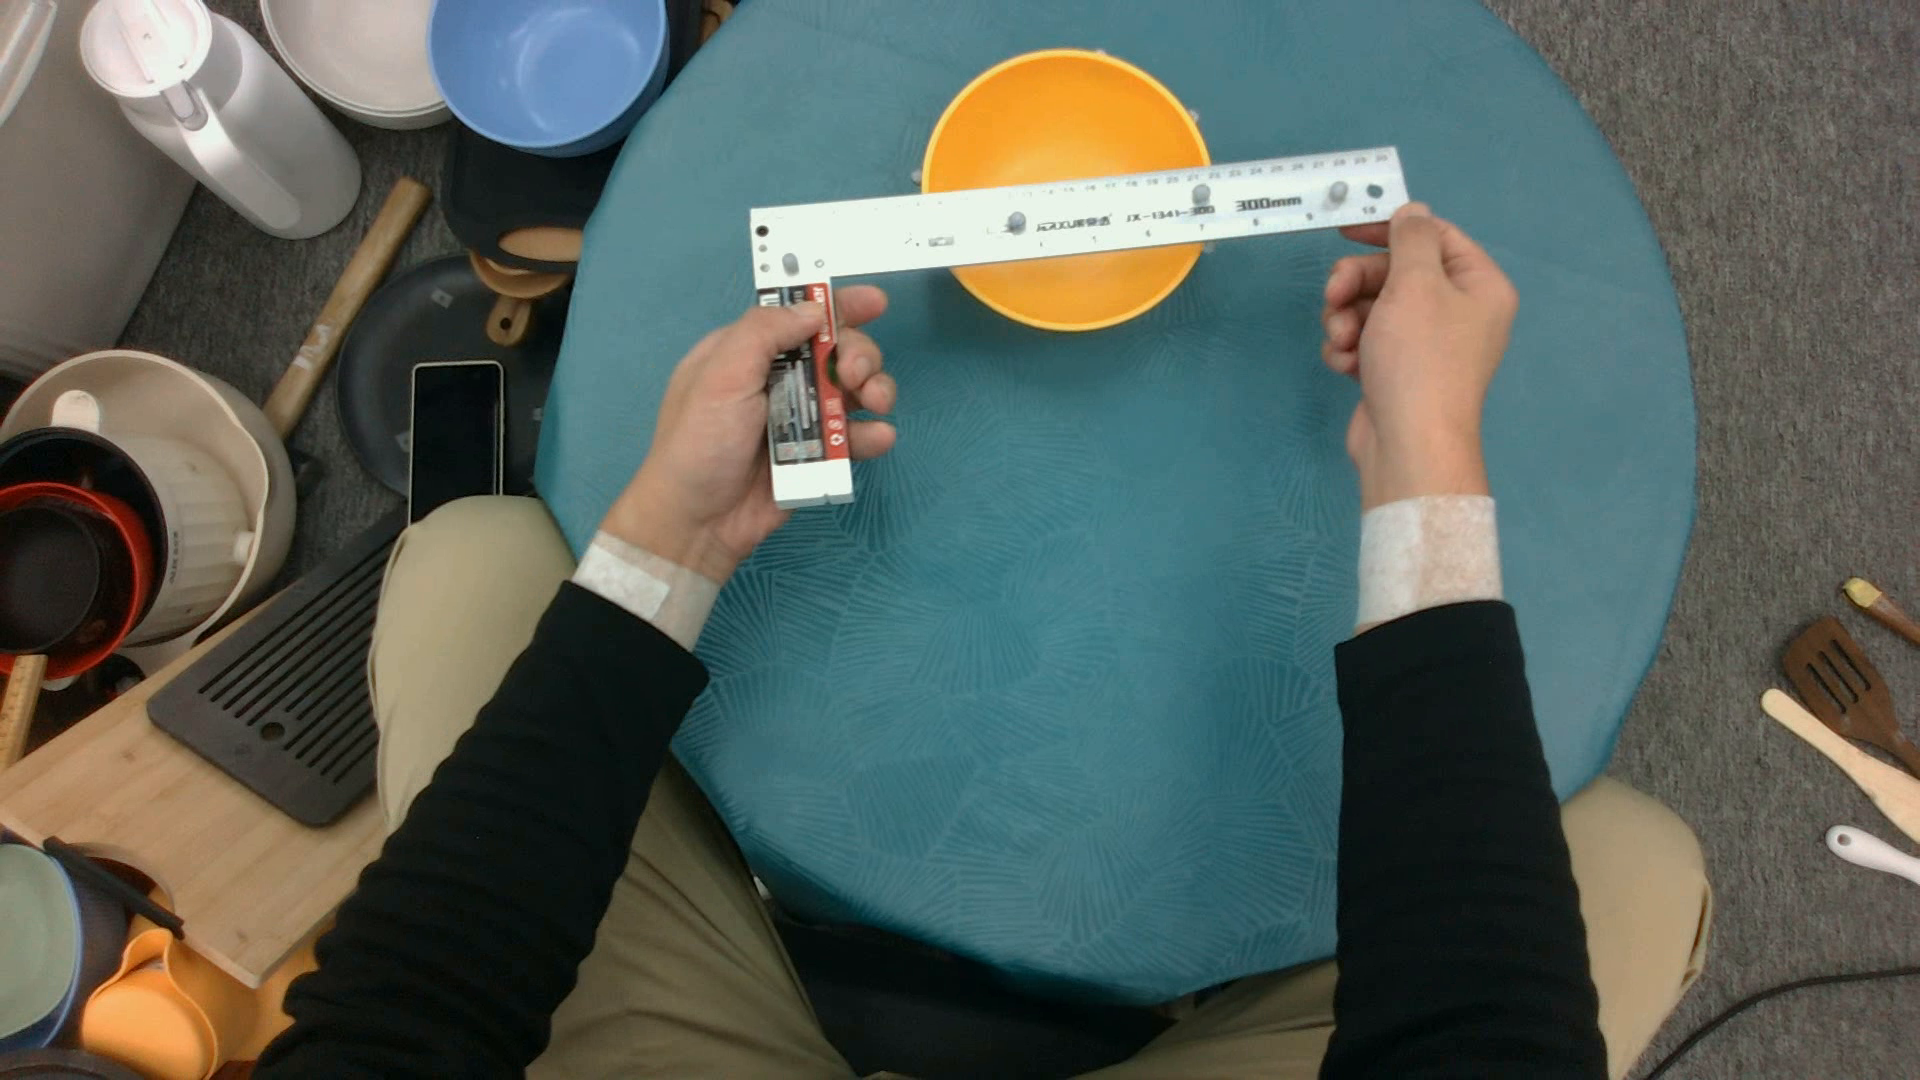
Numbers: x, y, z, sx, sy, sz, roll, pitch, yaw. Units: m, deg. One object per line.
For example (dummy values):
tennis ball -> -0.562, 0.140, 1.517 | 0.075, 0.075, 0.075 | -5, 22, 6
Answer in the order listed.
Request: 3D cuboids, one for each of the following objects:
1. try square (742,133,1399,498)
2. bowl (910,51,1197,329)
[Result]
try square -> 0.060, -0.109, 0.637 | 0.313, 0.016, 0.152 | -6, 73, -4
bowl -> 0.047, -0.172, 0.712 | 0.145, 0.060, 0.145 | 0, 83, -1
